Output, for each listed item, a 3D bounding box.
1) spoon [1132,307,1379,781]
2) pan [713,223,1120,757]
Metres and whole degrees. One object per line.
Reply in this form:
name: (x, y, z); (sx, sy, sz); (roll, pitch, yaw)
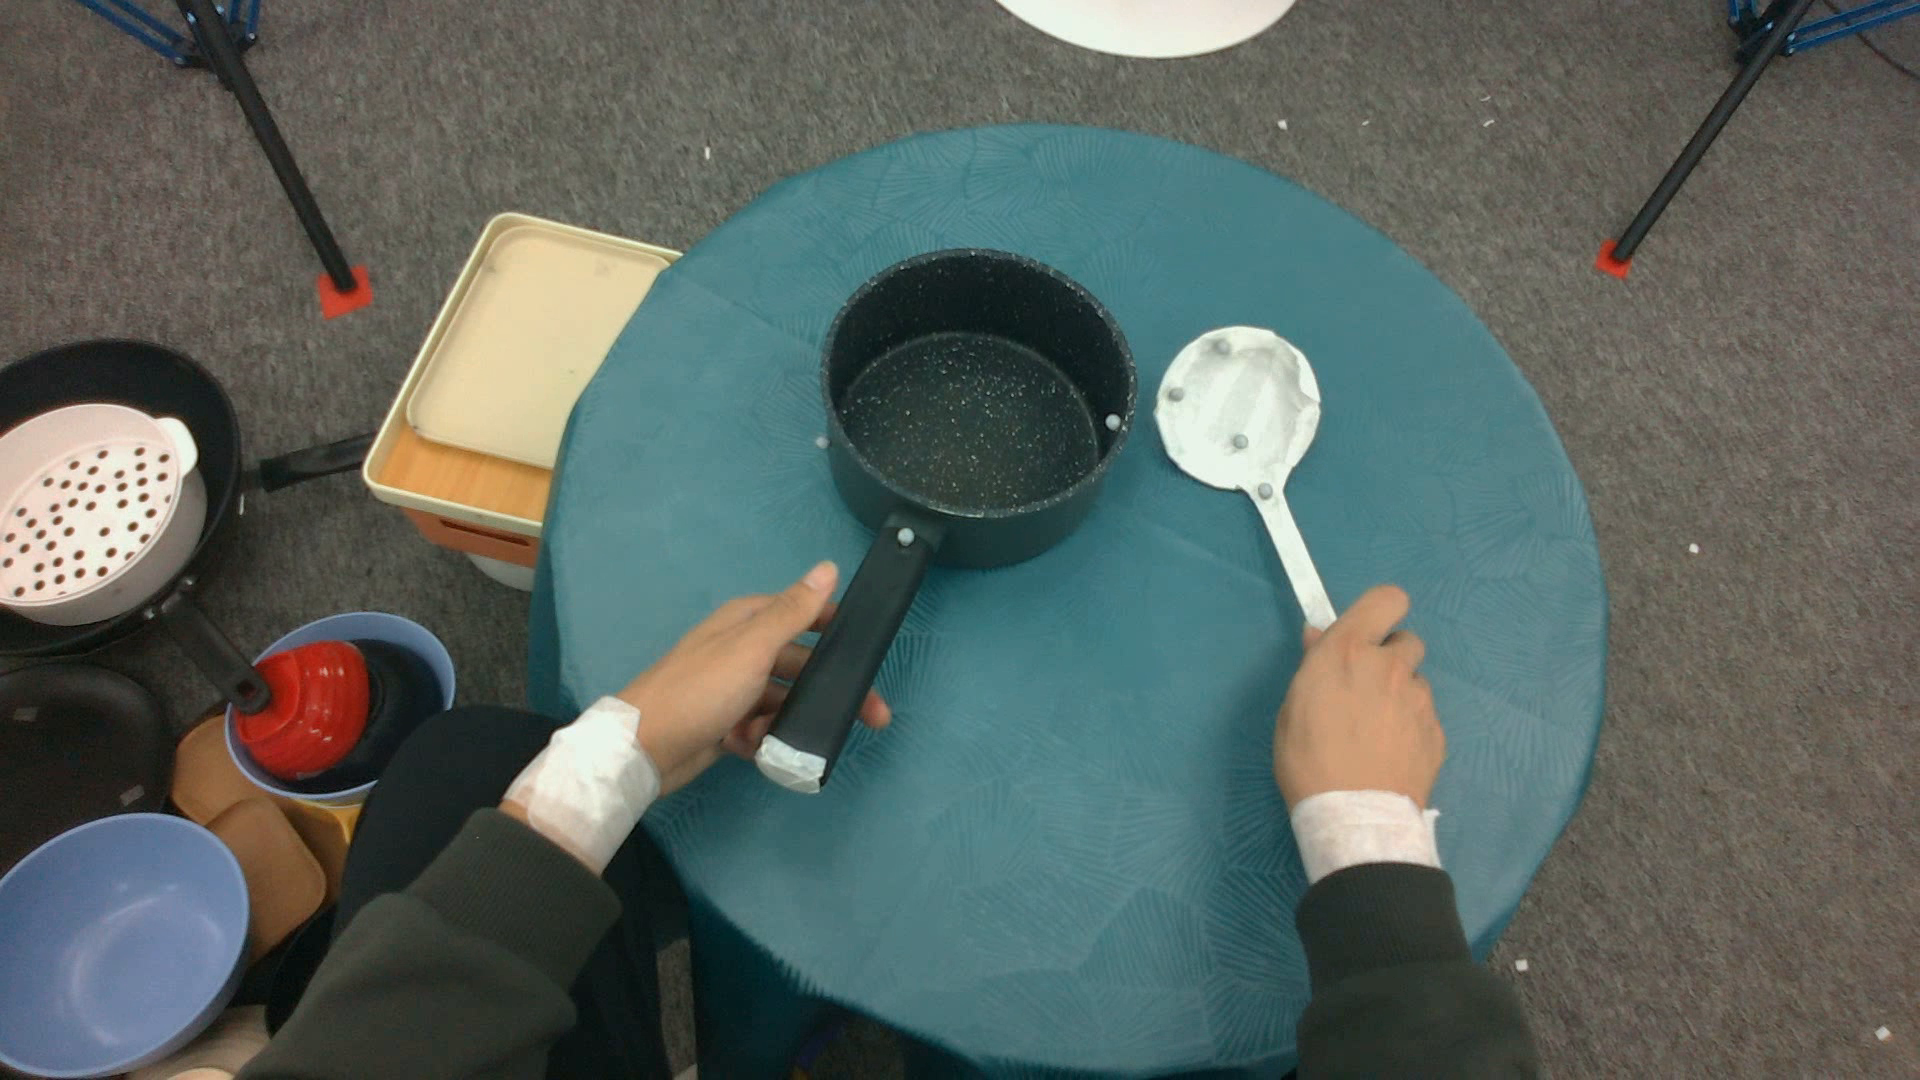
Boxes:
spoon: (0.166, -0.004, 0.746); (0.100, 0.059, 0.278); (-19, 58, 10)
pan: (-0.034, -0.022, 0.726); (0.172, 0.086, 0.330); (23, 62, 7)
